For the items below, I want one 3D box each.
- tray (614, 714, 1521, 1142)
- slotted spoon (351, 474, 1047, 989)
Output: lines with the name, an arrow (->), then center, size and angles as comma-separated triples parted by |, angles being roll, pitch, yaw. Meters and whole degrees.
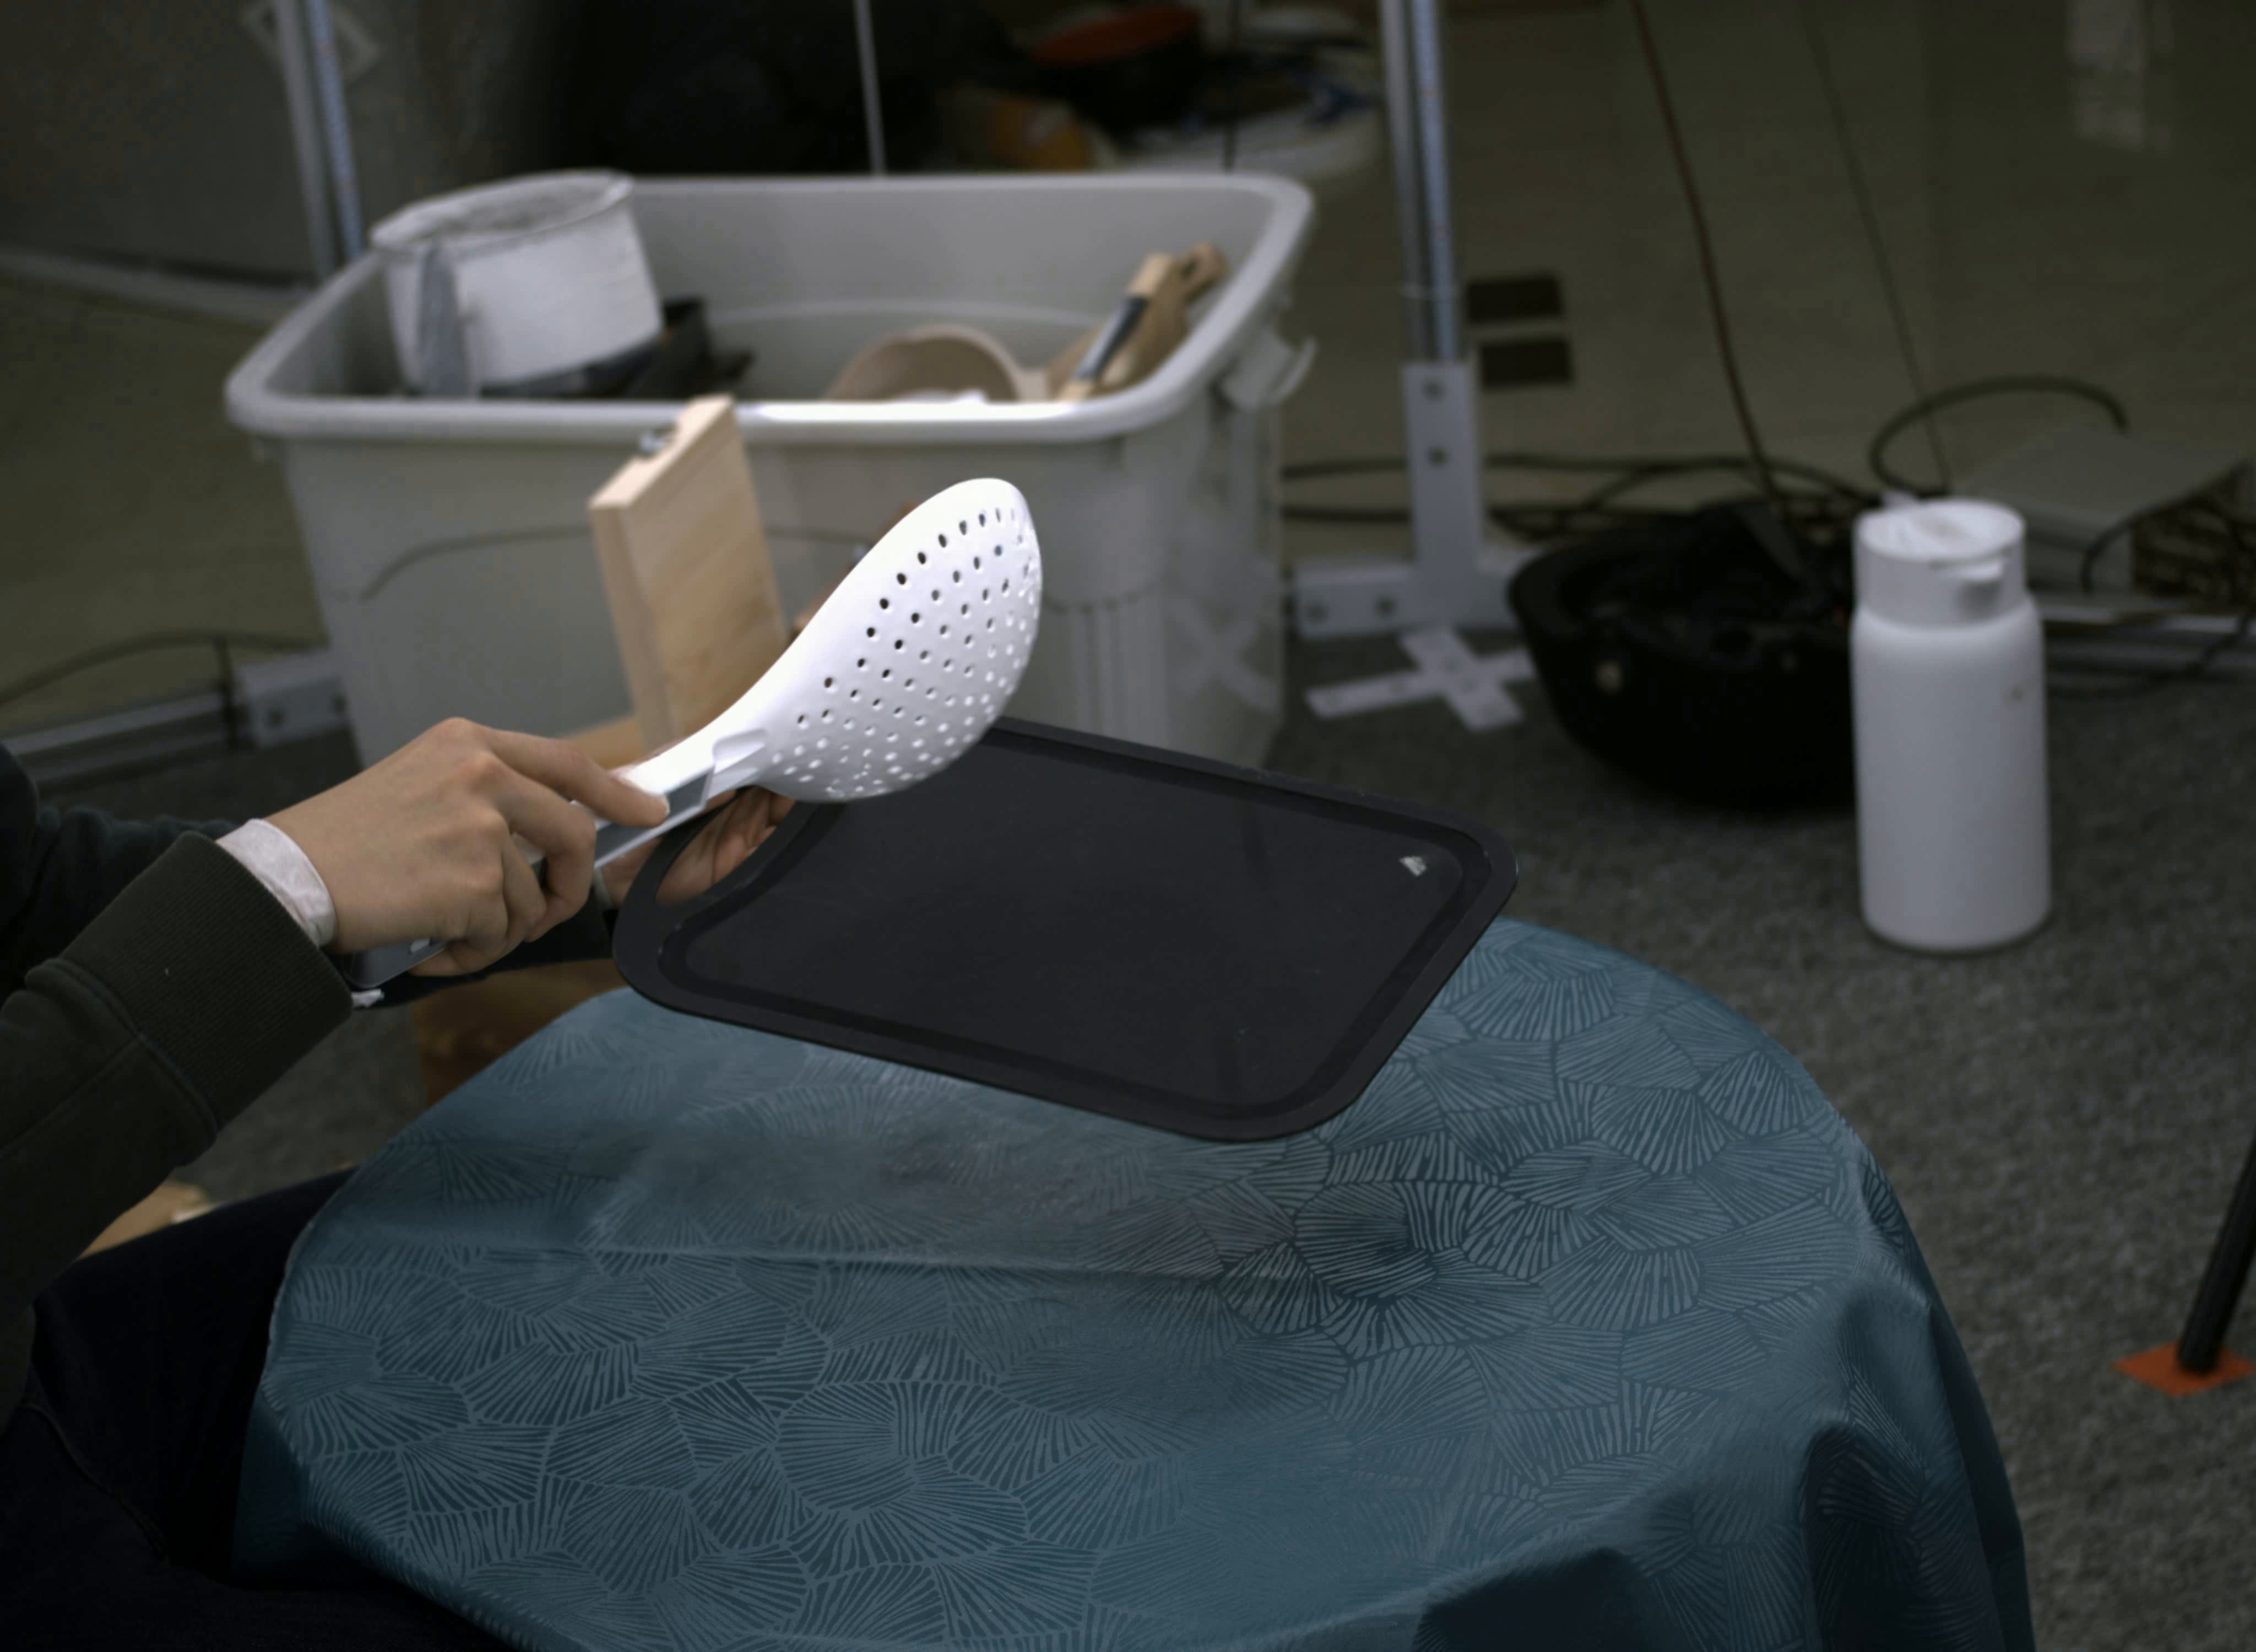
tray -> -0.031, 0.029, 2.103 | 0.323, 0.010, 0.208 | 13, 40, 26
slotted spoon -> -0.140, -0.023, 1.964 | 0.045, 0.138, 0.347 | 37, 43, 29
